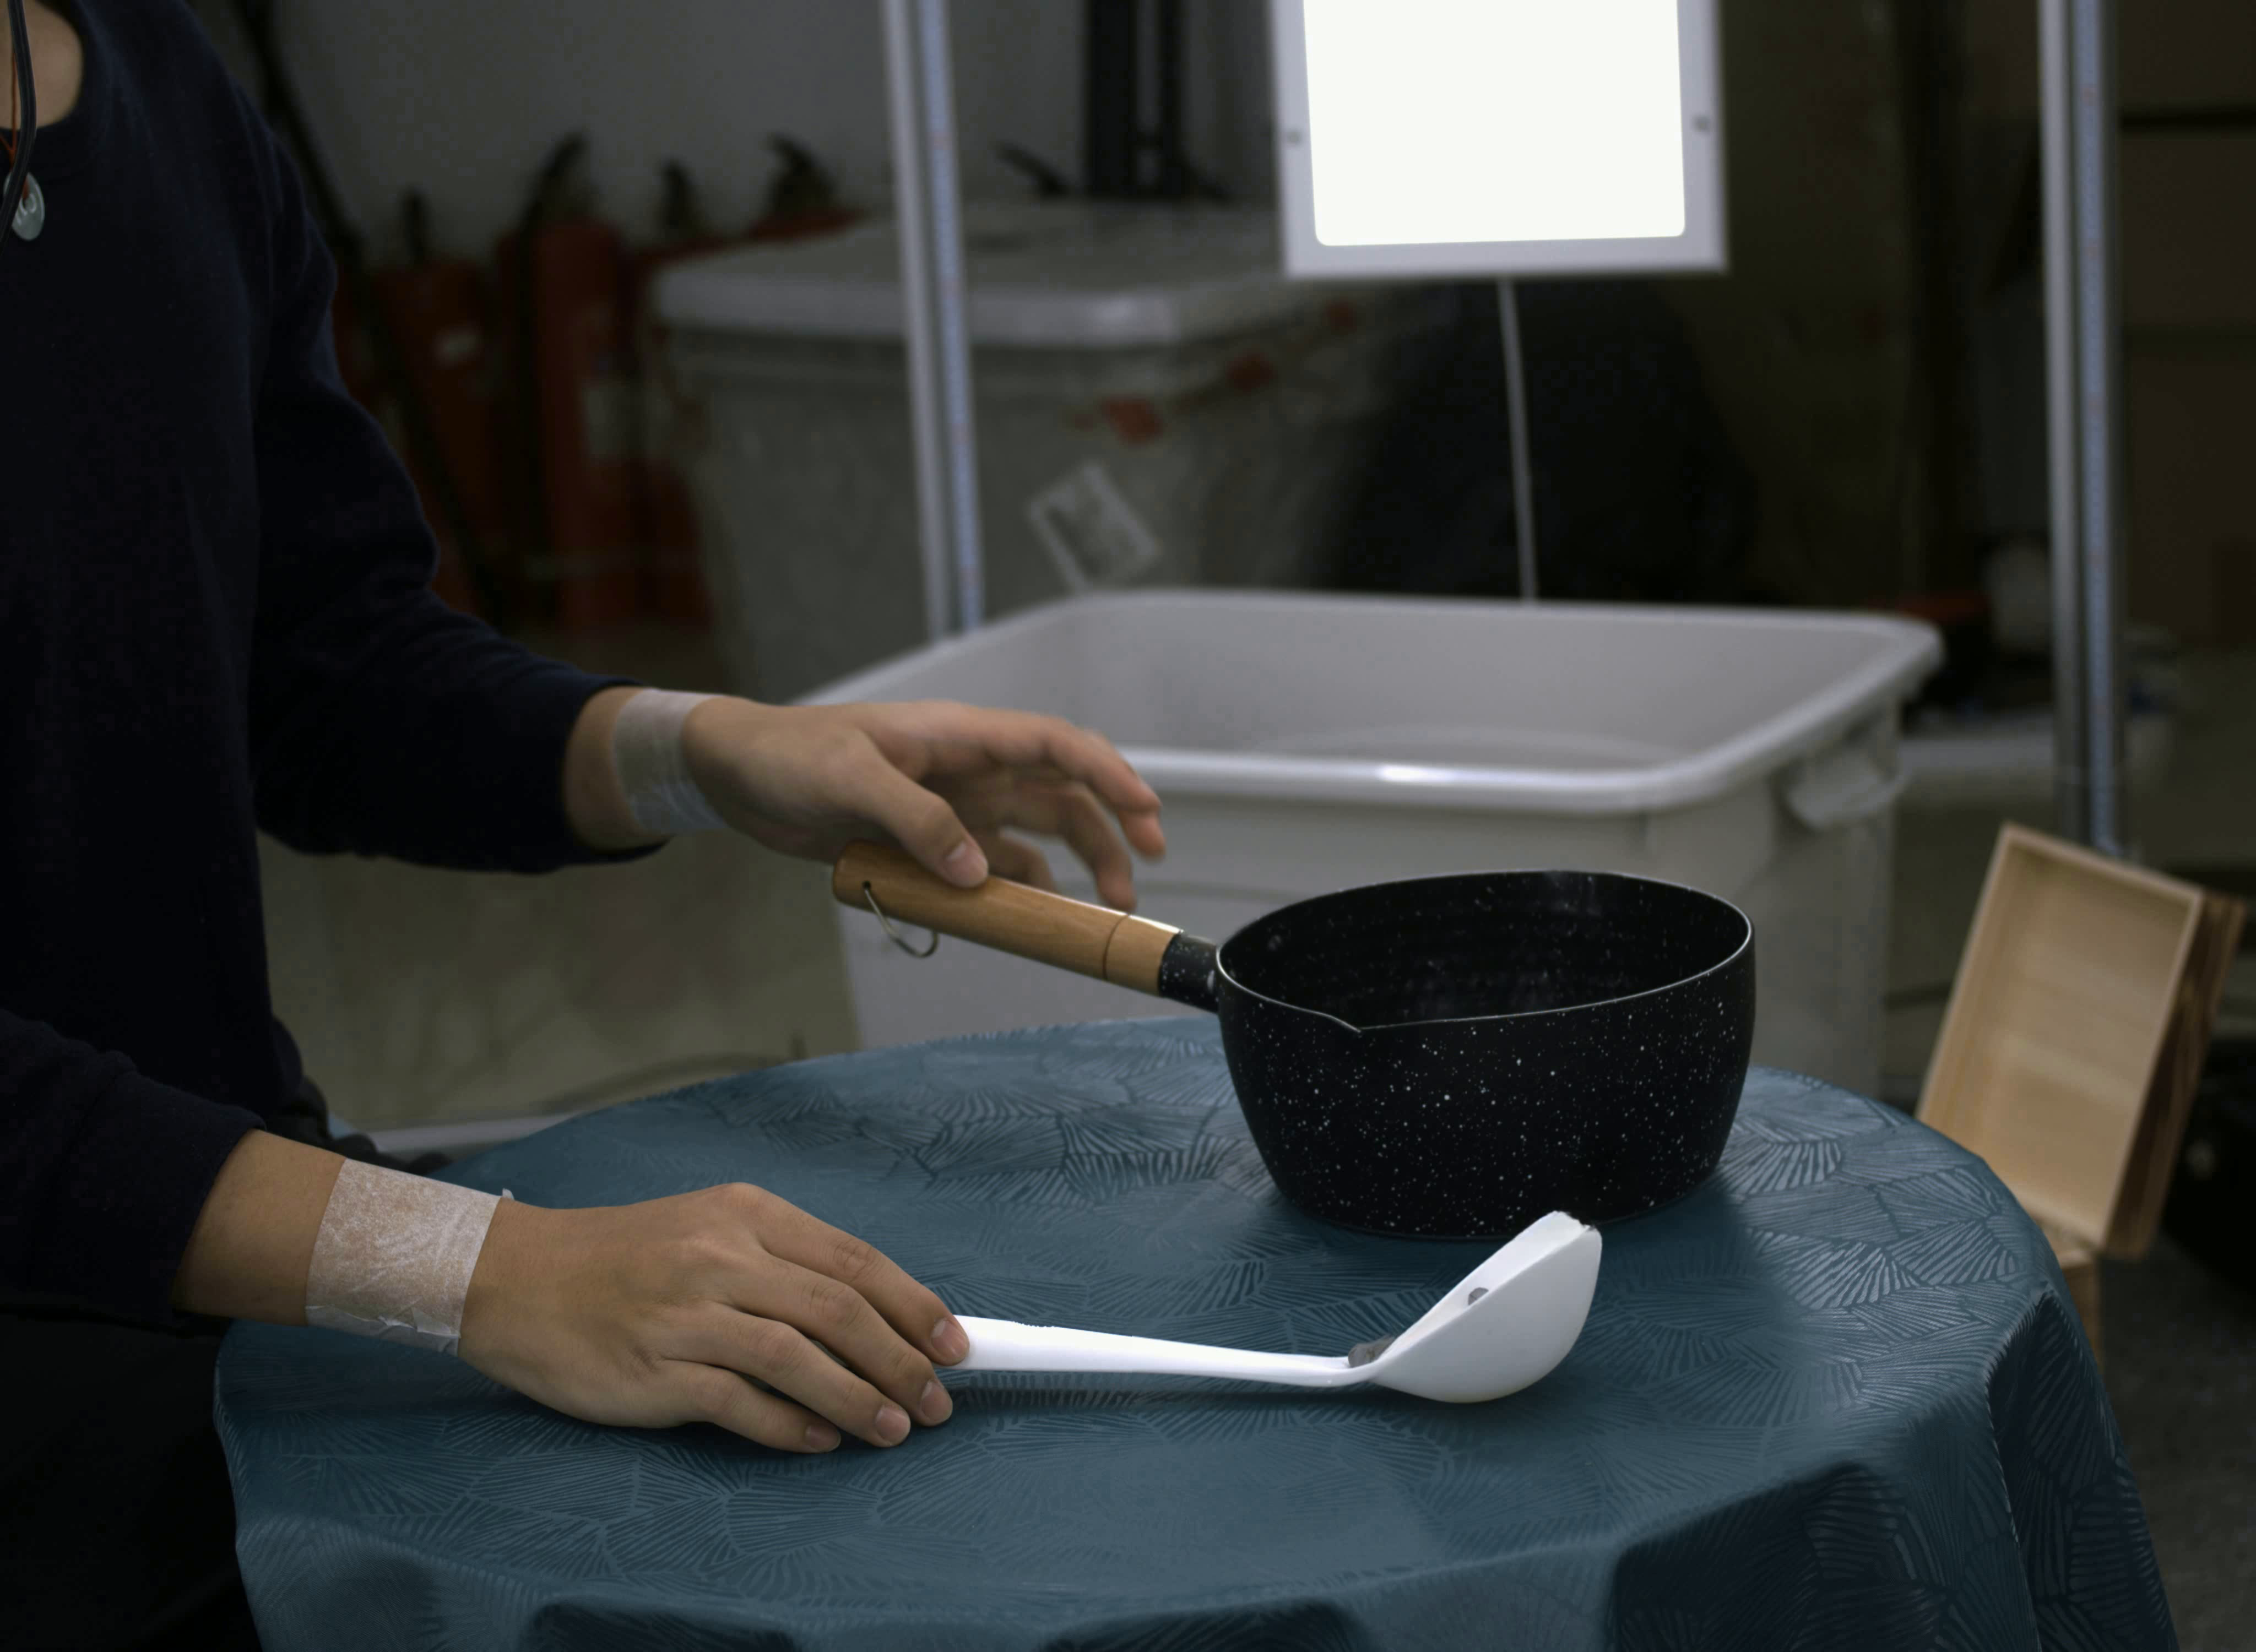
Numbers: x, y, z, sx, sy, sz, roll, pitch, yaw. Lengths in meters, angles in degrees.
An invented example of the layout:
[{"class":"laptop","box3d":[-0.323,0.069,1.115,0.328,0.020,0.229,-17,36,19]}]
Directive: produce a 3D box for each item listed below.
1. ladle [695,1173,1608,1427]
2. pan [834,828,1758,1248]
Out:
[{"class":"ladle","box3d":[0.006,0.149,1.688,0.296,0.070,0.089,-2,12,18]},{"class":"pan","box3d":[0.051,0.064,1.904,0.348,0.108,0.203,3,17,27]}]
